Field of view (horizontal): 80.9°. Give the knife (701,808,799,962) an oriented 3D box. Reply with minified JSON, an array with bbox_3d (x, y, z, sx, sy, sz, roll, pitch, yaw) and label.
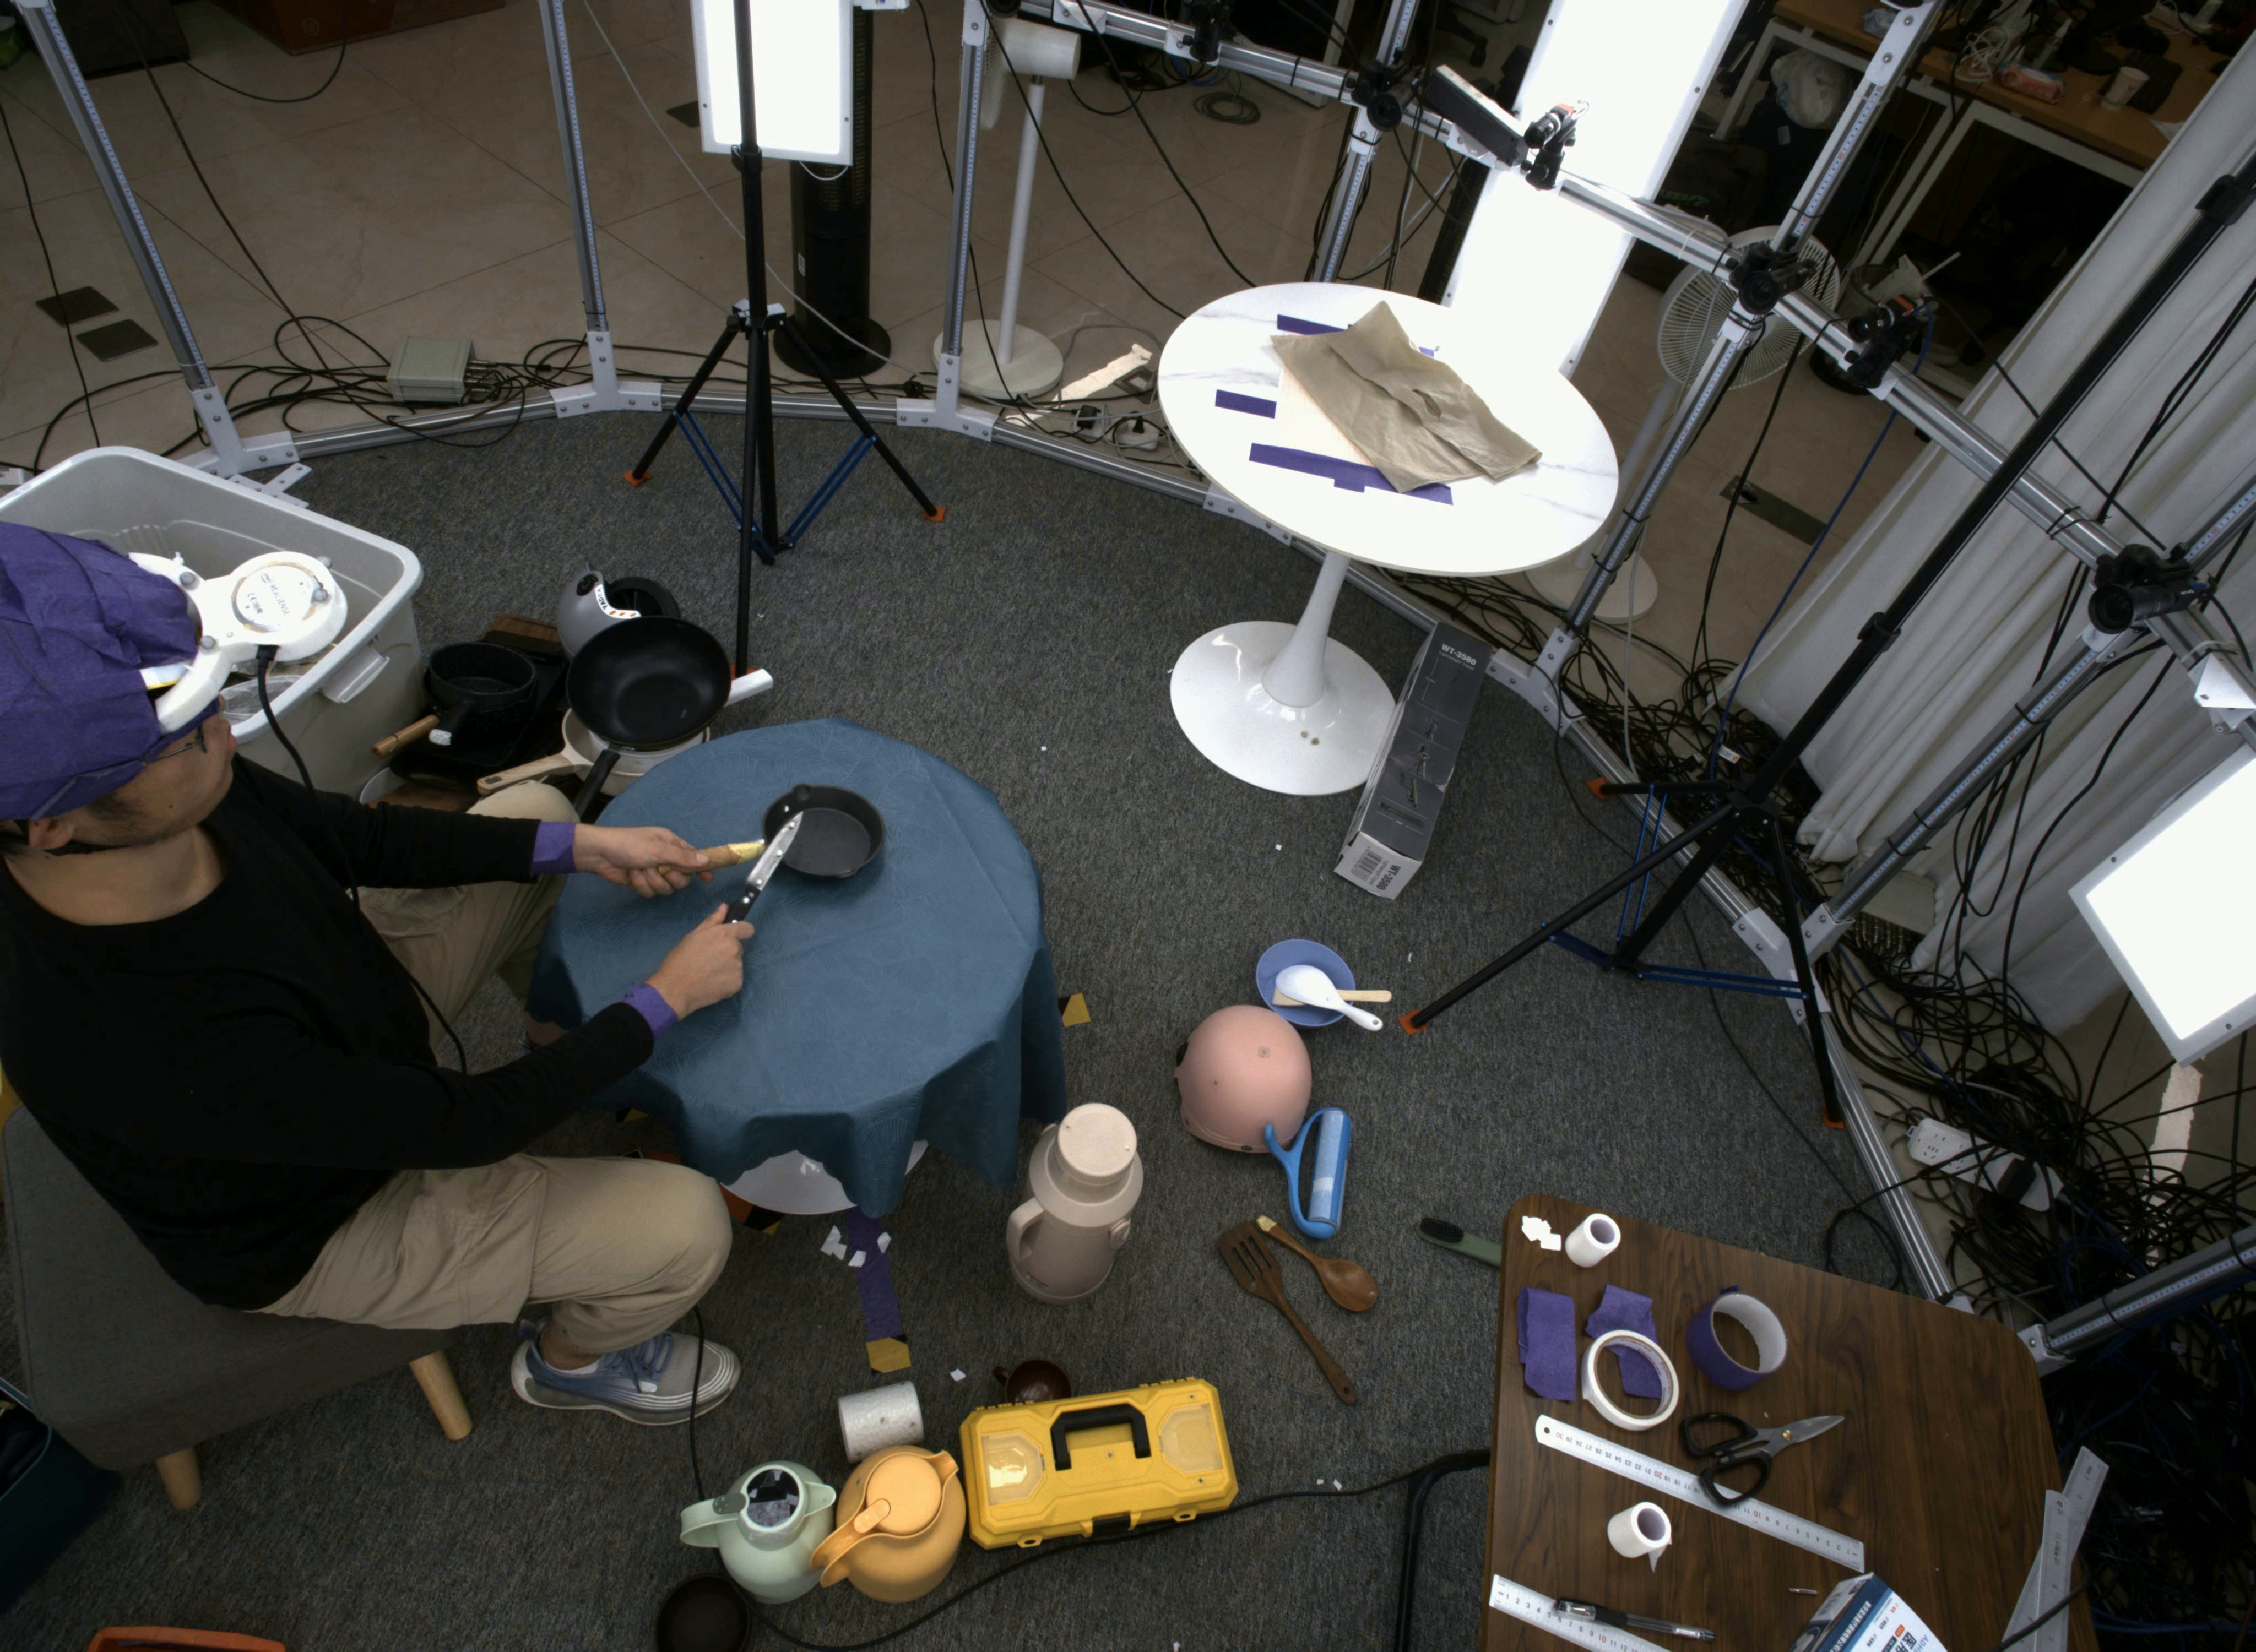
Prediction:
[{"bbox_3d":[-0.457,0.068,1.585,0.025,0.016,0.236,34,54,-16],"label":"knife"}]

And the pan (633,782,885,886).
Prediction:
[{"bbox_3d":[-0.466,0.027,1.643,0.327,0.050,0.164,-15,56,-29],"label":"pan"}]
